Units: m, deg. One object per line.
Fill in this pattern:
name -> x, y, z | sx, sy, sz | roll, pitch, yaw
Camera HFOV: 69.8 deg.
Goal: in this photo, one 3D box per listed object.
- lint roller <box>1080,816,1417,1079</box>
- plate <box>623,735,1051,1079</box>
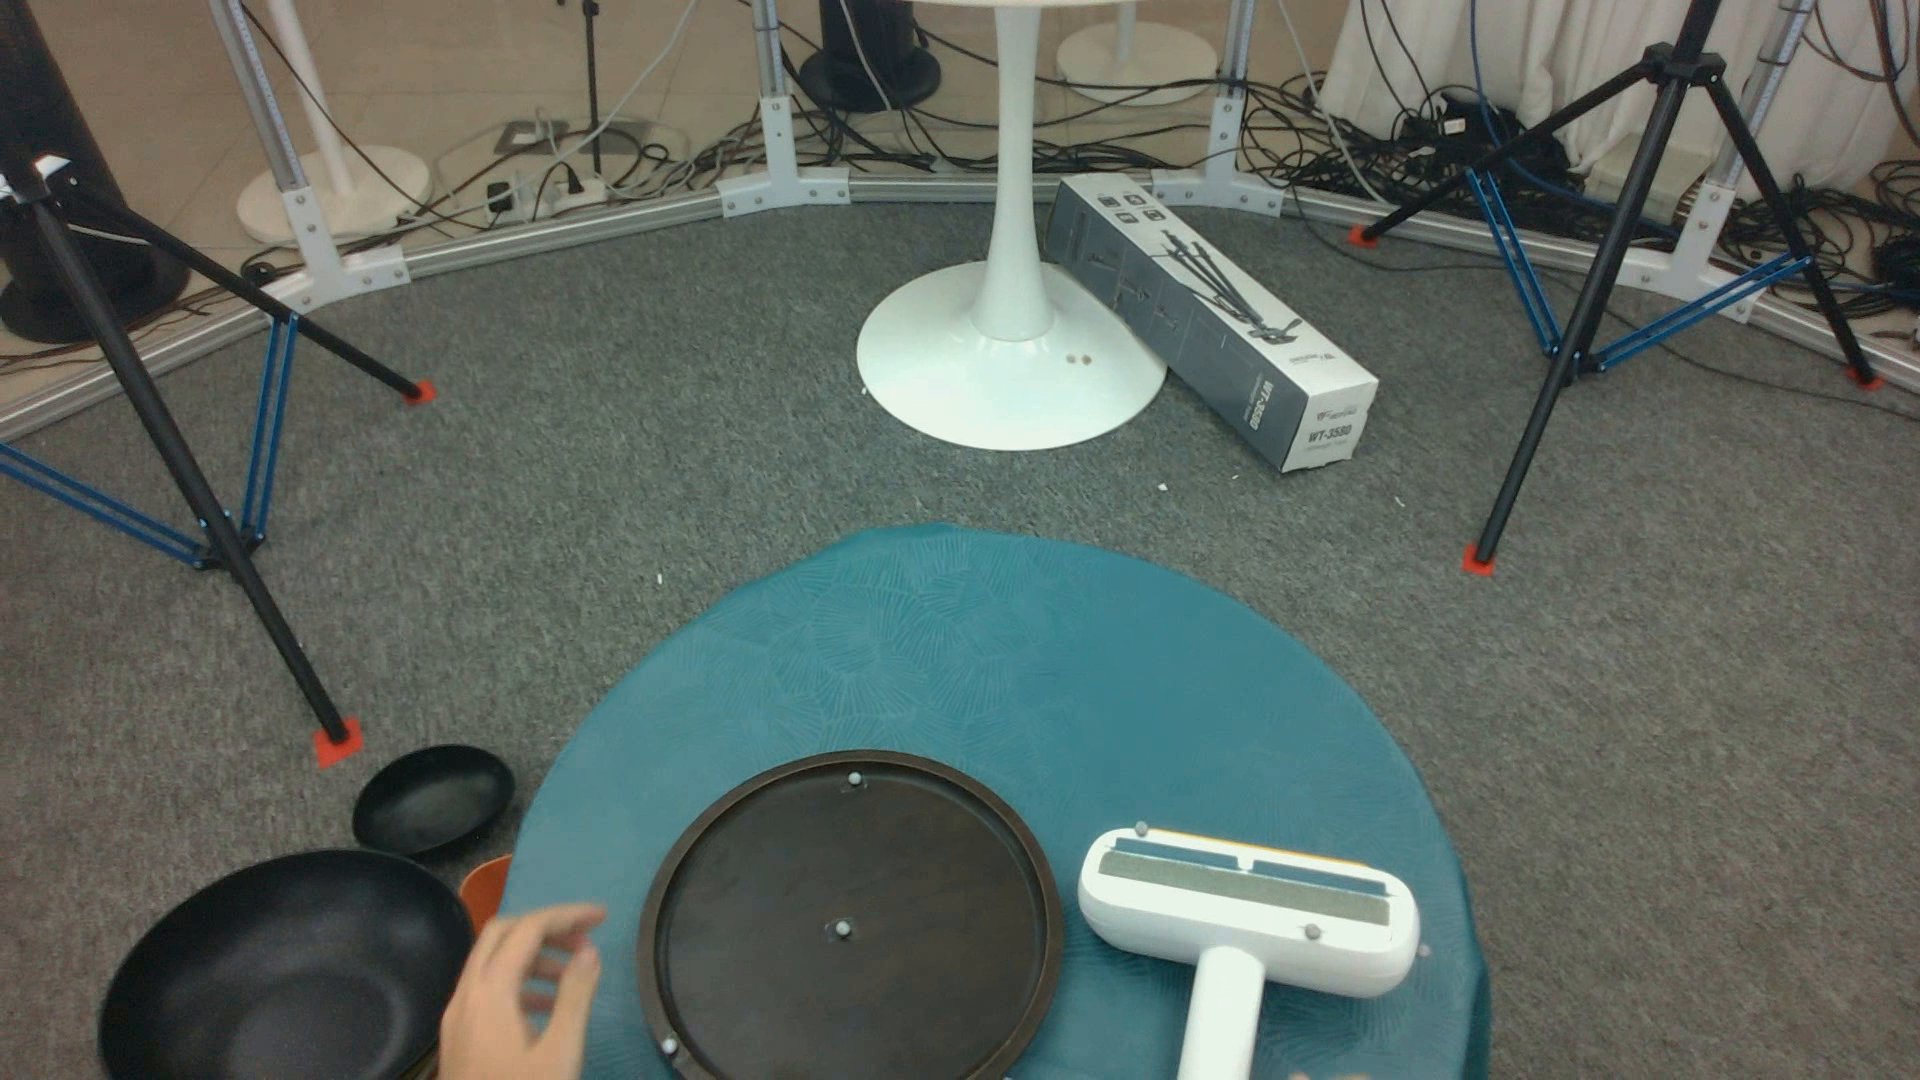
lint roller -> 0.144, 0.253, 0.768 | 0.192, 0.074, 0.193 | 11, 47, 20
plate -> -0.072, 0.228, 0.823 | 0.255, 0.029, 0.256 | 0, 46, 0
